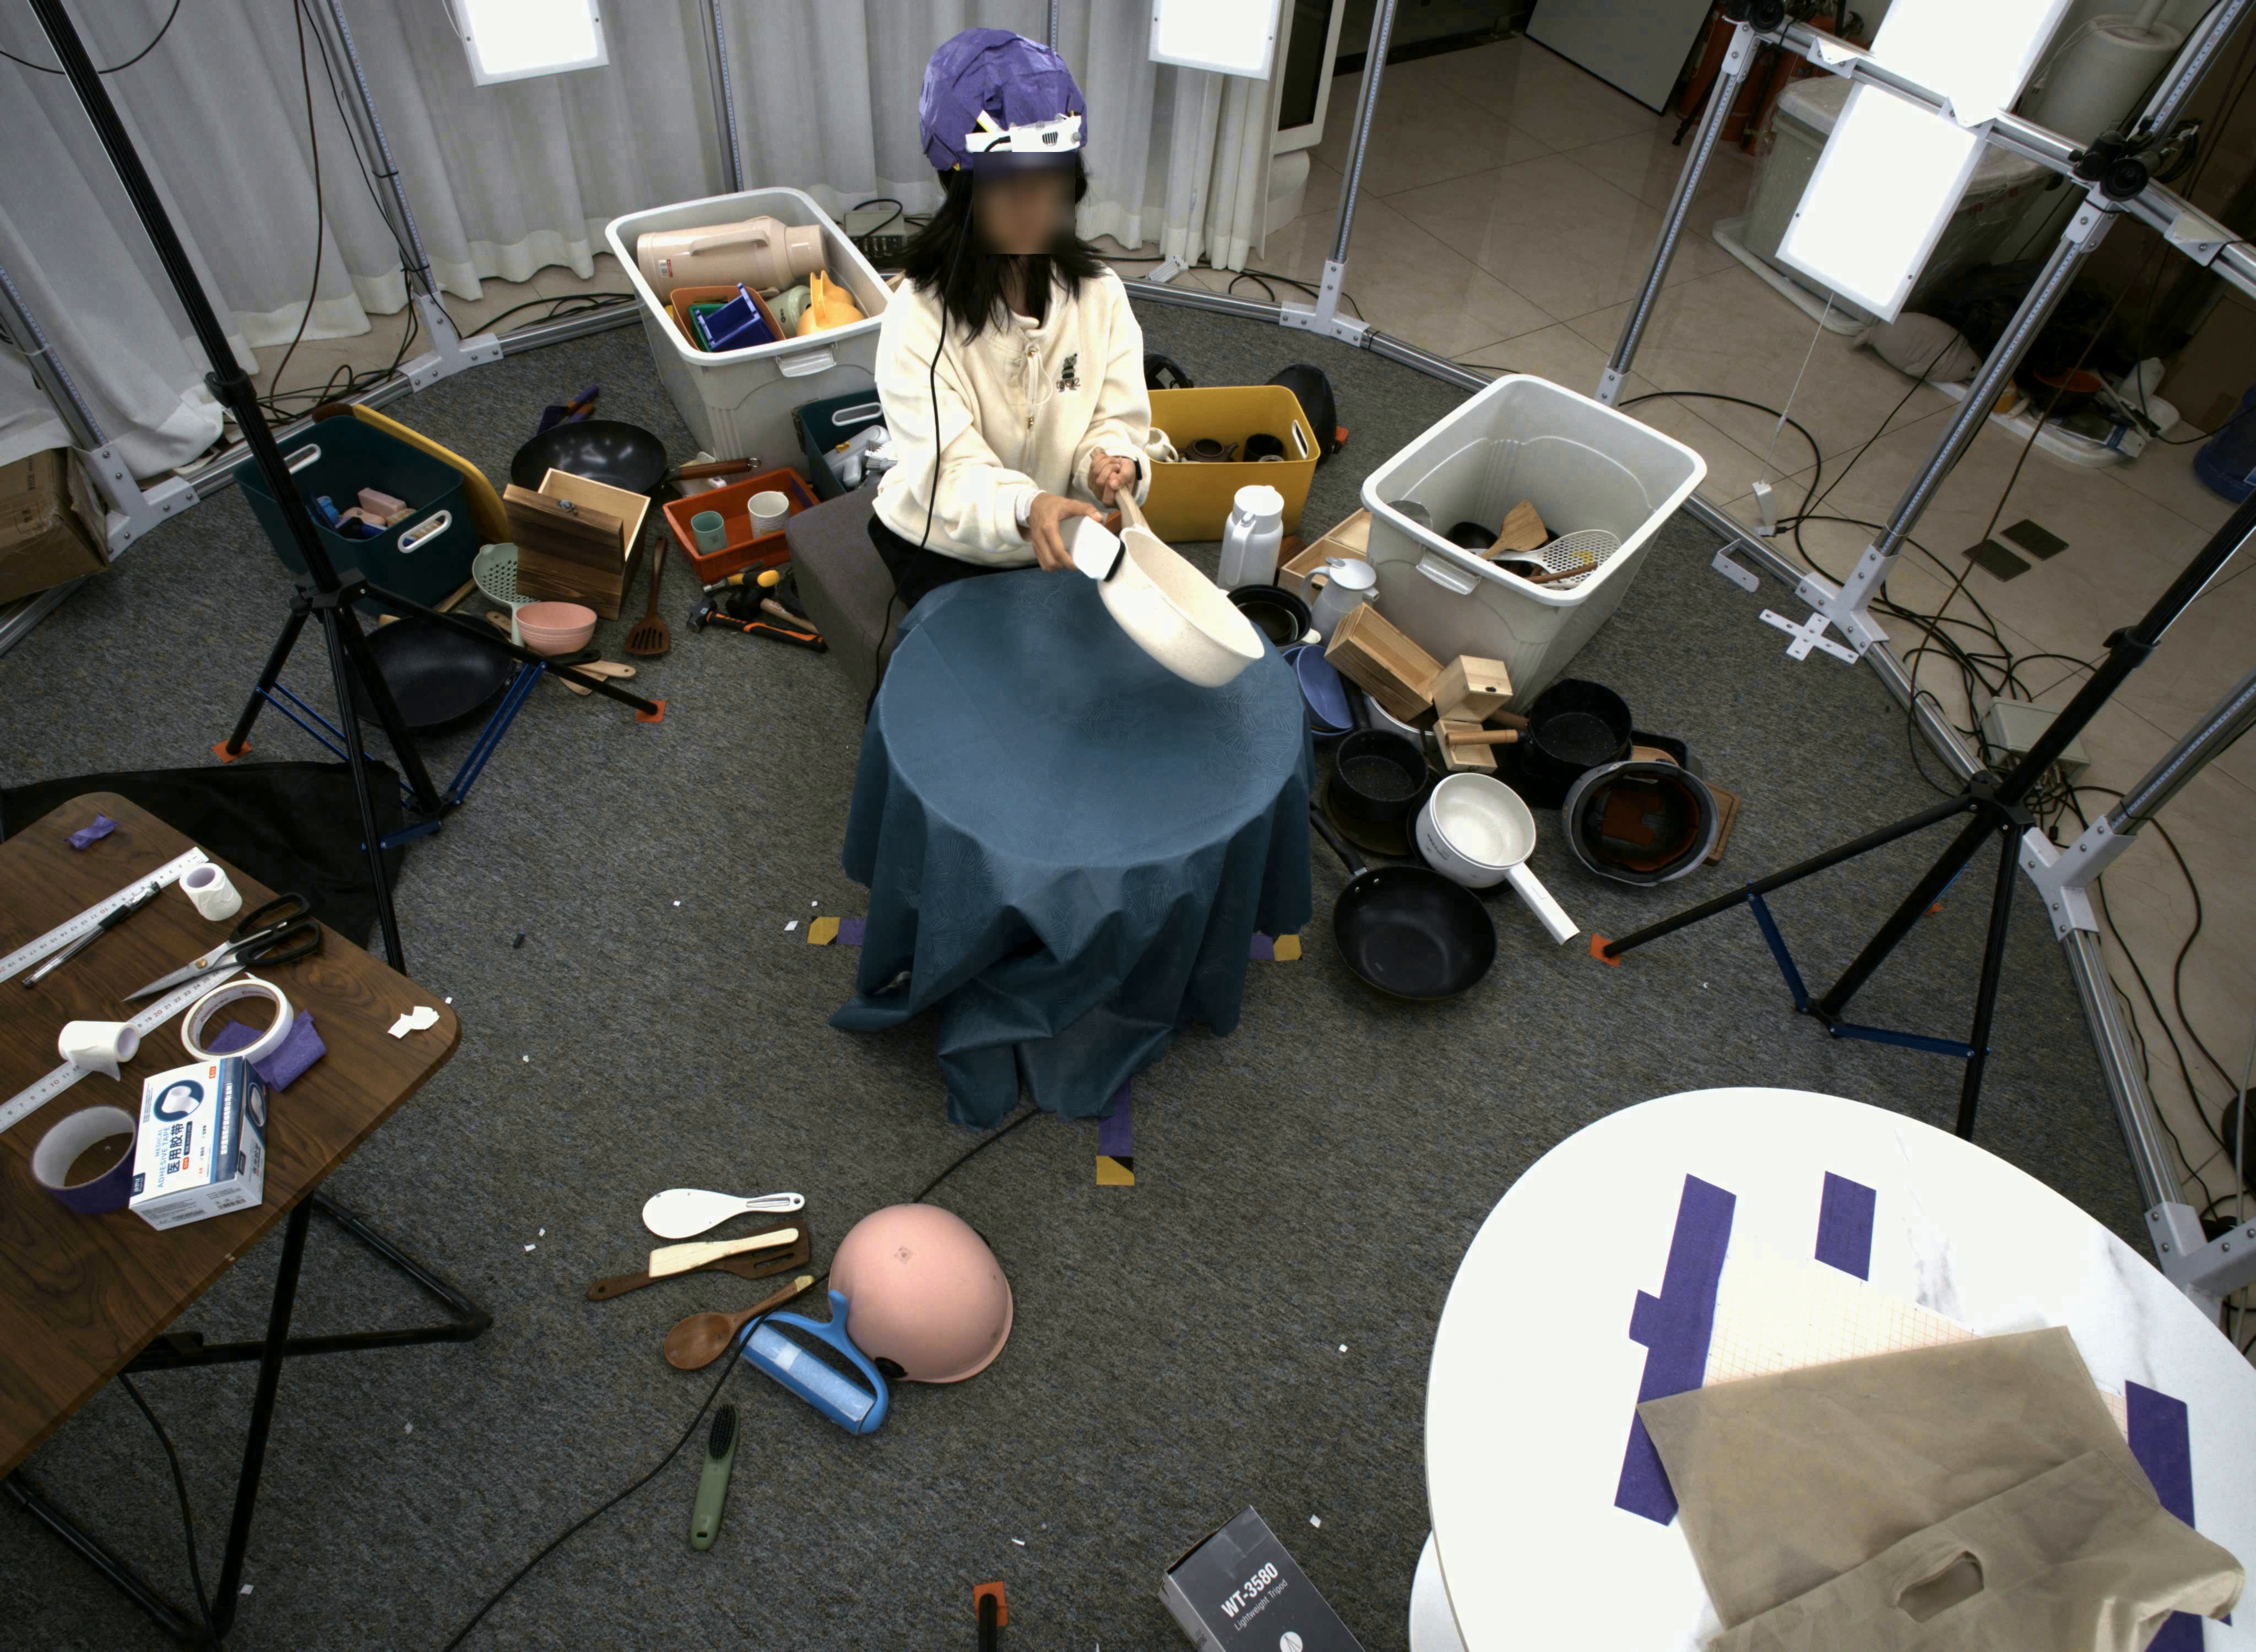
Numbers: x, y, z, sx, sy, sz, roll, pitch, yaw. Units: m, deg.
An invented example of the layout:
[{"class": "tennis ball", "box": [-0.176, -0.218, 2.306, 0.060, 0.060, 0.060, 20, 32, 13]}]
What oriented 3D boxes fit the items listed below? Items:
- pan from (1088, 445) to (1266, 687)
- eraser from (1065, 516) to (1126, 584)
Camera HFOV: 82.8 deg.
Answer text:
[{"class": "pan", "box": [0.027, -0.359, 1.779, 0.260, 0.101, 0.444, 13, 37, -49]}, {"class": "eraser", "box": [-0.045, -0.363, 1.684, 0.034, 0.063, 0.134, 21, 18, -29]}]
